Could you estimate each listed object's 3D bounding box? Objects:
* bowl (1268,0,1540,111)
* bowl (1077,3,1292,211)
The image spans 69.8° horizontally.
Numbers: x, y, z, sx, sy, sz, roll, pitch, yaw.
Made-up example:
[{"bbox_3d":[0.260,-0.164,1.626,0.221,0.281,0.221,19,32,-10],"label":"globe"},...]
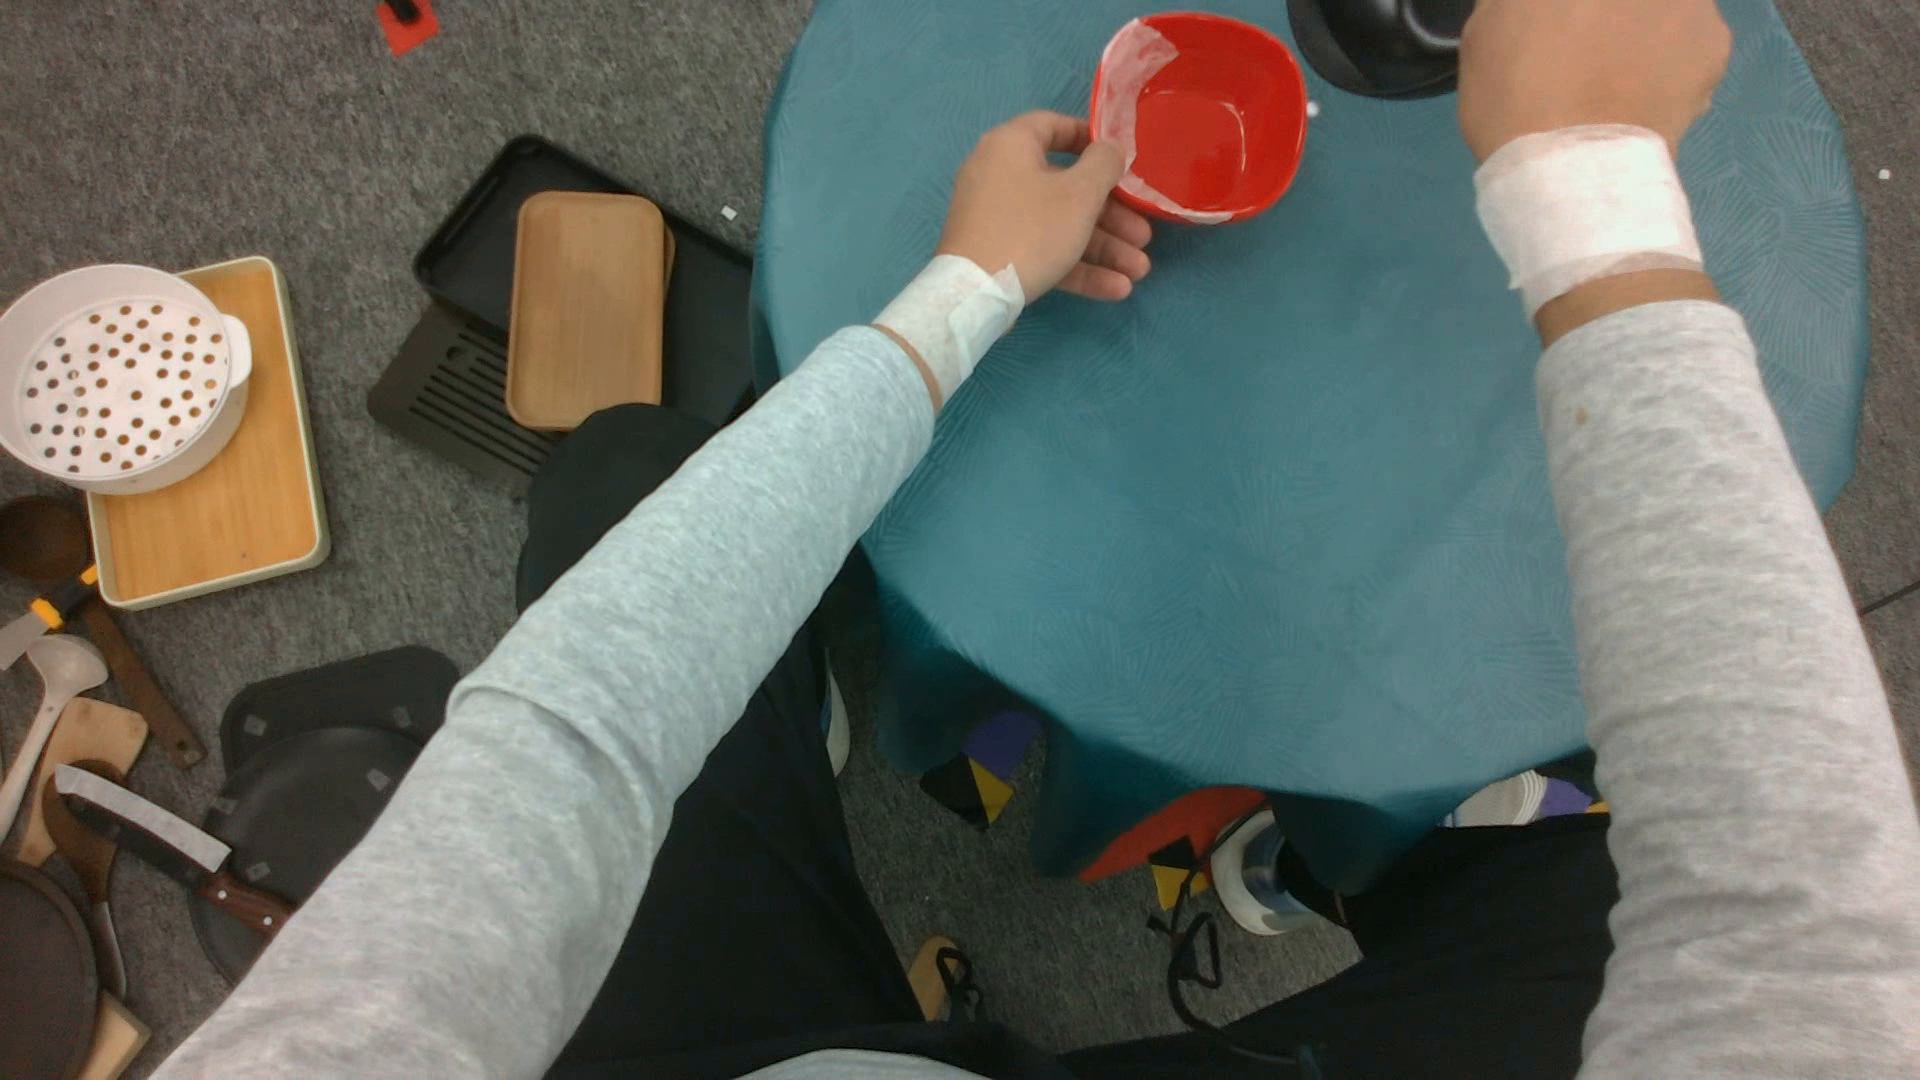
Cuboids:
[{"bbox_3d":[0.204,-0.255,0.603,0.050,0.139,0.140,1,76,-38],"label":"bowl"},{"bbox_3d":[0.113,-0.218,0.721,0.119,0.051,0.119,1,77,-4],"label":"bowl"}]
